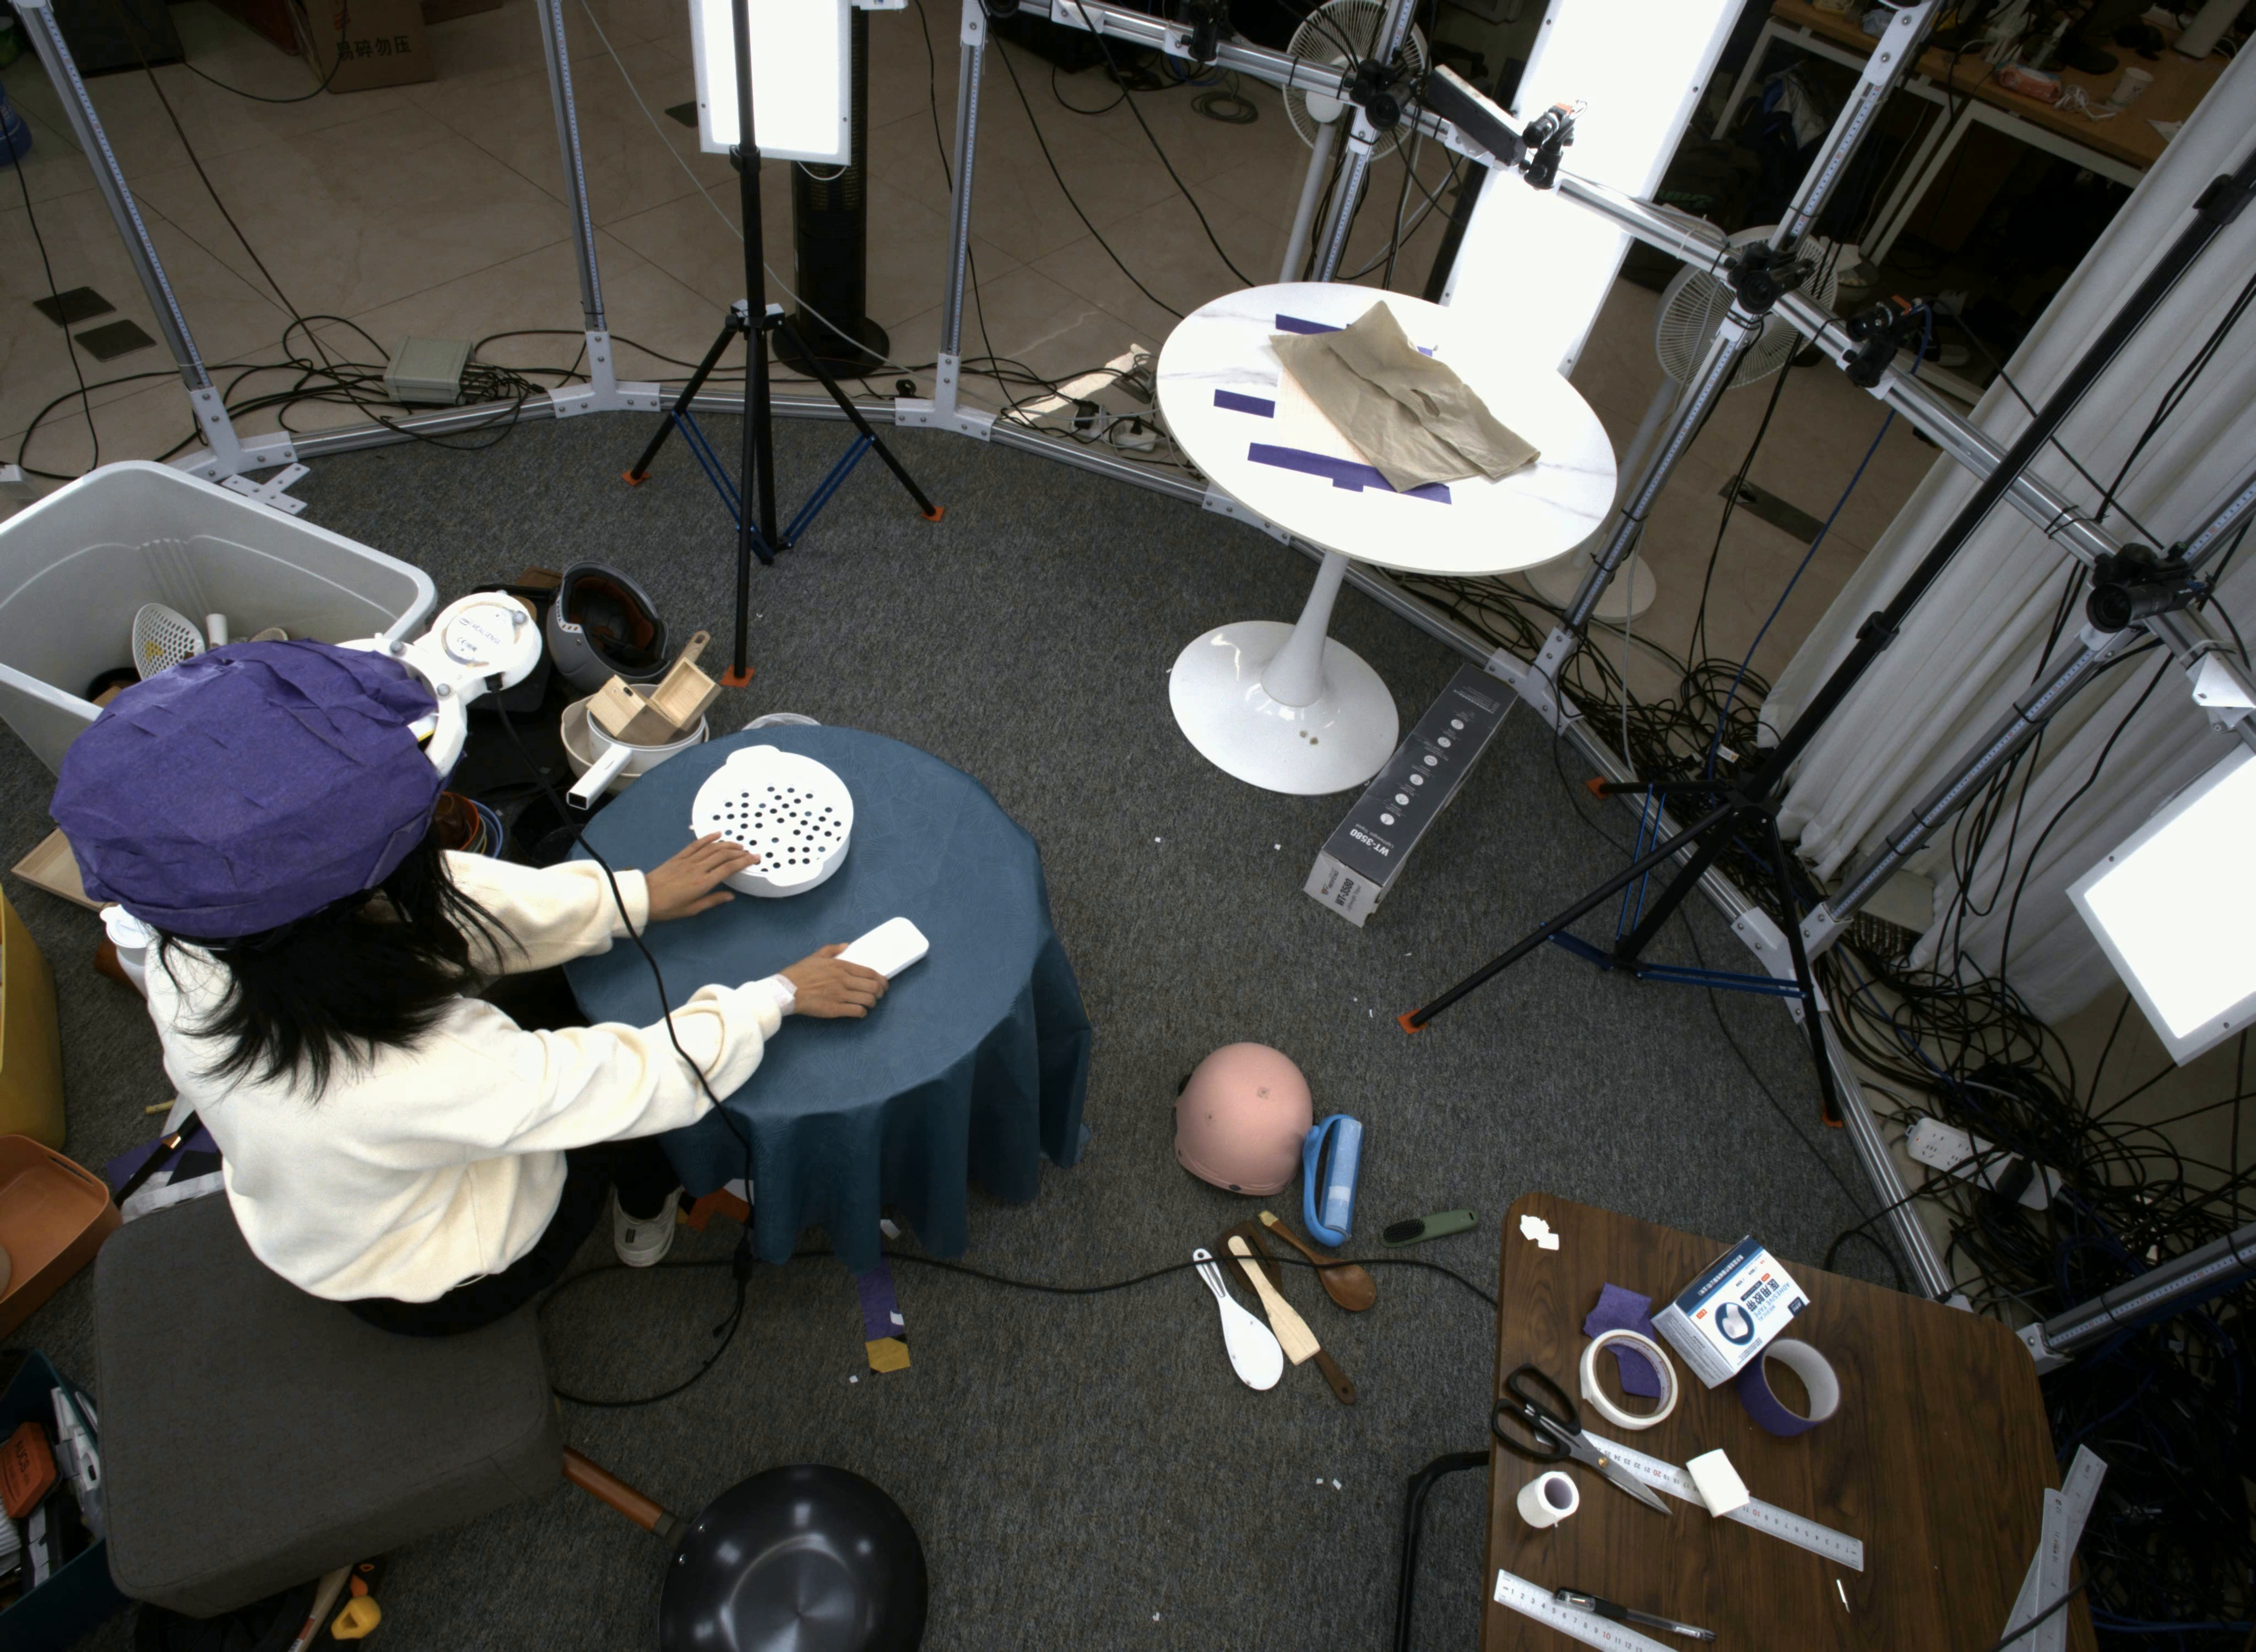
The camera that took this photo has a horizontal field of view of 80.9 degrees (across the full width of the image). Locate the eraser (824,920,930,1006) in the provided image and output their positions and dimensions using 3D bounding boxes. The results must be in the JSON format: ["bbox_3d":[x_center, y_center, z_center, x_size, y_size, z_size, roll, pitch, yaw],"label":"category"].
[{"bbox_3d":[-0.310,0.164,1.606,0.132,0.035,0.062,-31,67,-32],"label":"eraser"}]

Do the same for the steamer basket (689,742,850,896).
[{"bbox_3d":[-0.460,-0.005,1.670,0.203,0.071,0.224,-16,58,-24],"label":"steamer basket"}]
